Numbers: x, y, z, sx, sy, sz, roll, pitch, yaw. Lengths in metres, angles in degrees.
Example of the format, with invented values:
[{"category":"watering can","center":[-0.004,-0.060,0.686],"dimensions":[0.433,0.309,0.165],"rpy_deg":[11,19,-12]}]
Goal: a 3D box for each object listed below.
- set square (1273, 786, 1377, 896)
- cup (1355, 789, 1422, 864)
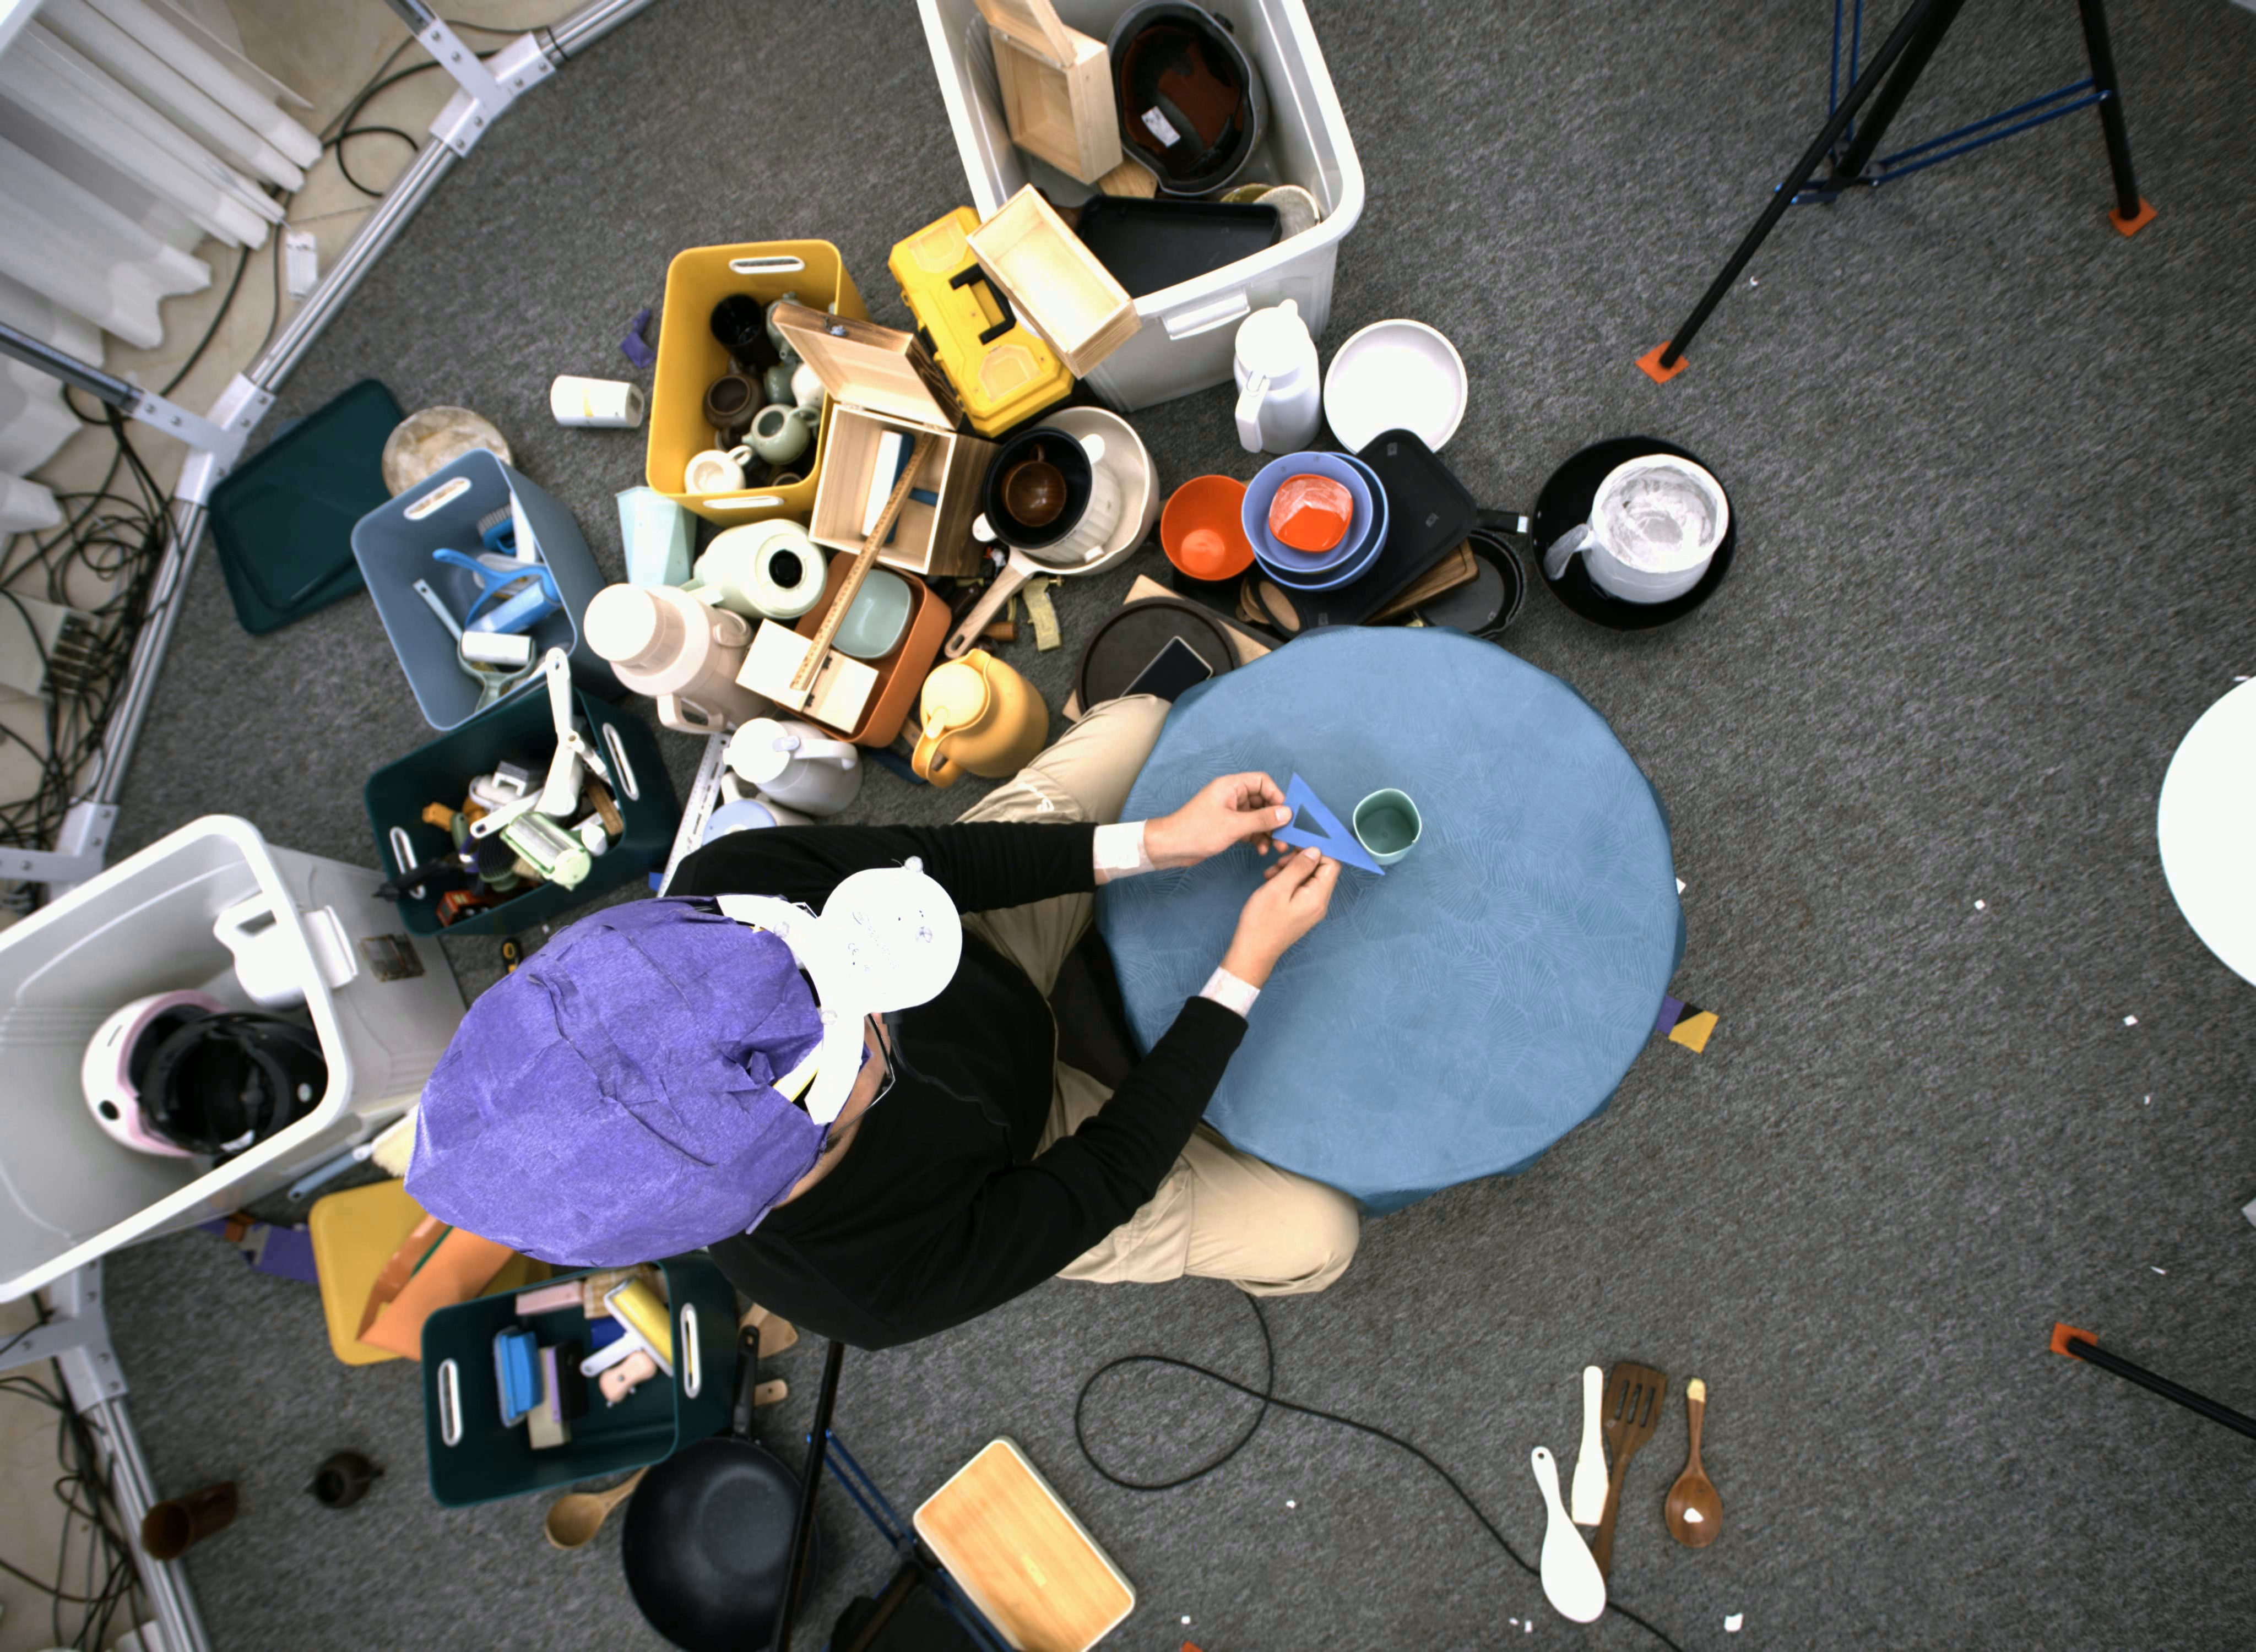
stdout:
[{"category":"set square","center":[0.190,0.027,1.386],"dimensions":[0.061,0.006,0.131],"rpy_deg":[-38,79,11]},{"category":"cup","center":[0.262,0.002,1.403],"dimensions":[0.067,0.132,0.066],"rpy_deg":[-1,84,9]}]
